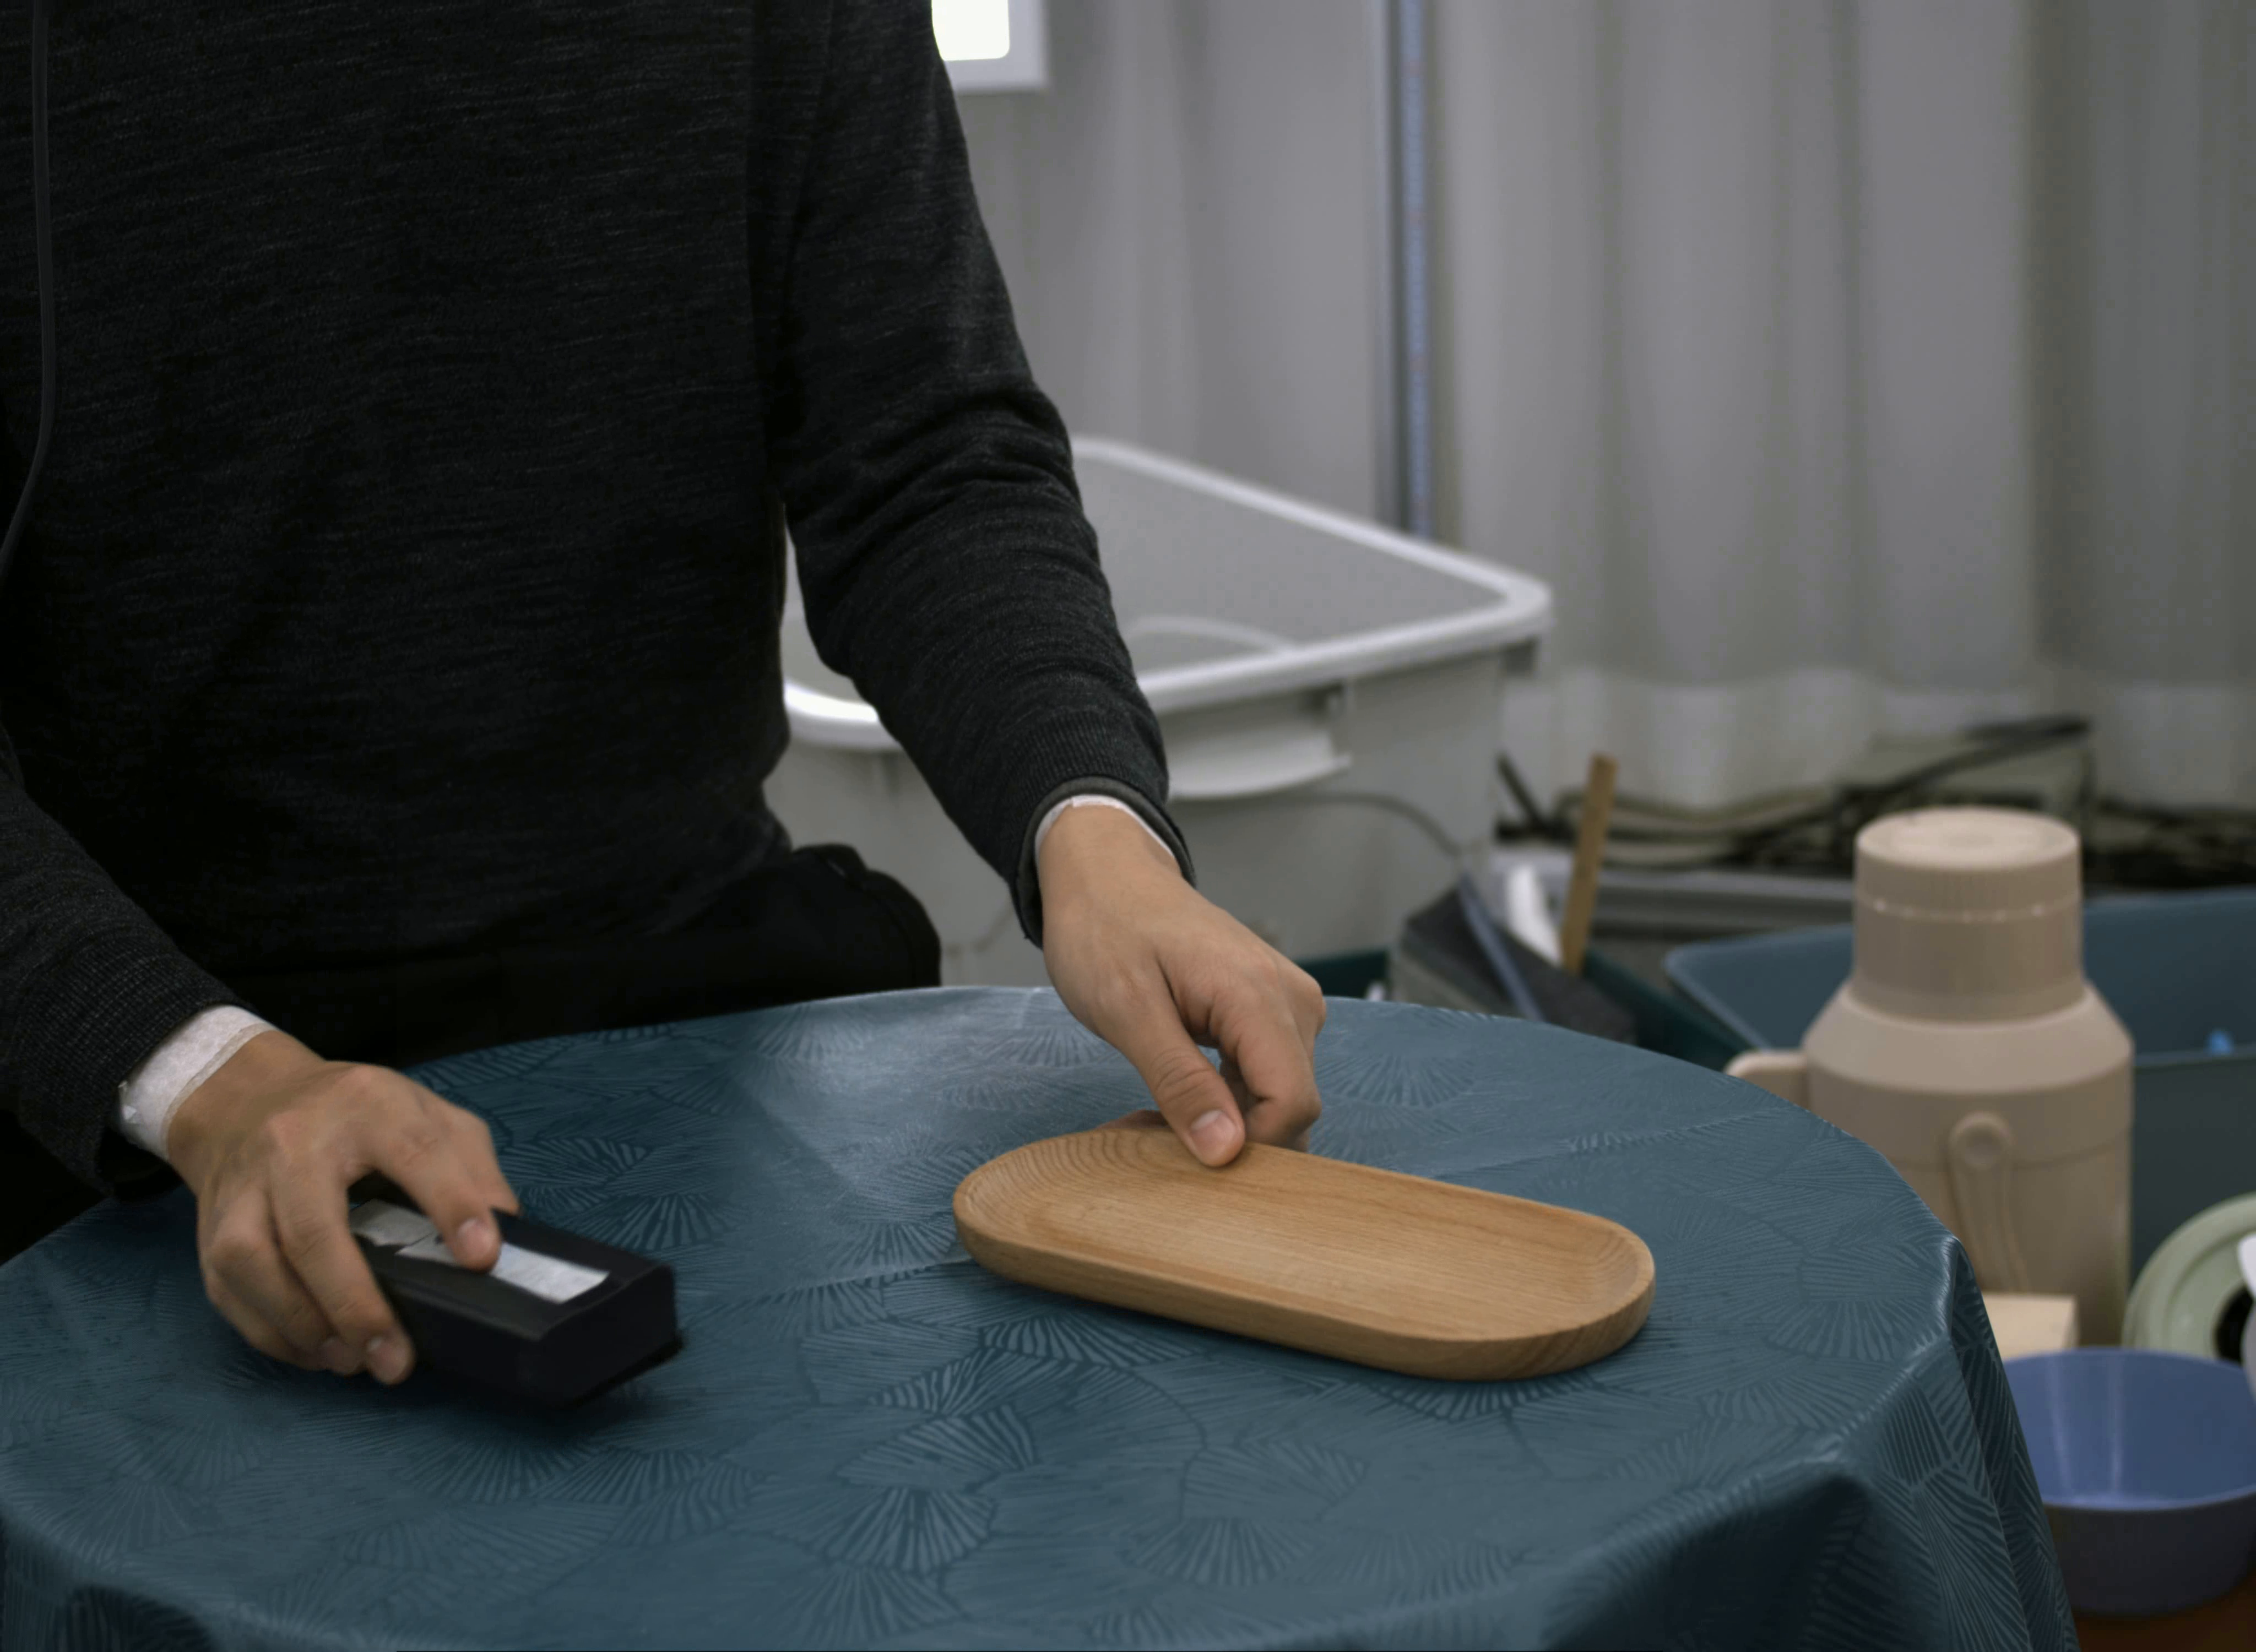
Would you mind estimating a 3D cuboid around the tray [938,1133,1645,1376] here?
[{"bbox_3d":[0.046,0.126,1.618,0.232,0.020,0.102,8,19,35],"label":"tray"}]

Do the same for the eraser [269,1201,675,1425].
[{"bbox_3d":[-0.187,0.138,1.566,0.053,0.030,0.126,-24,24,-40],"label":"eraser"}]
